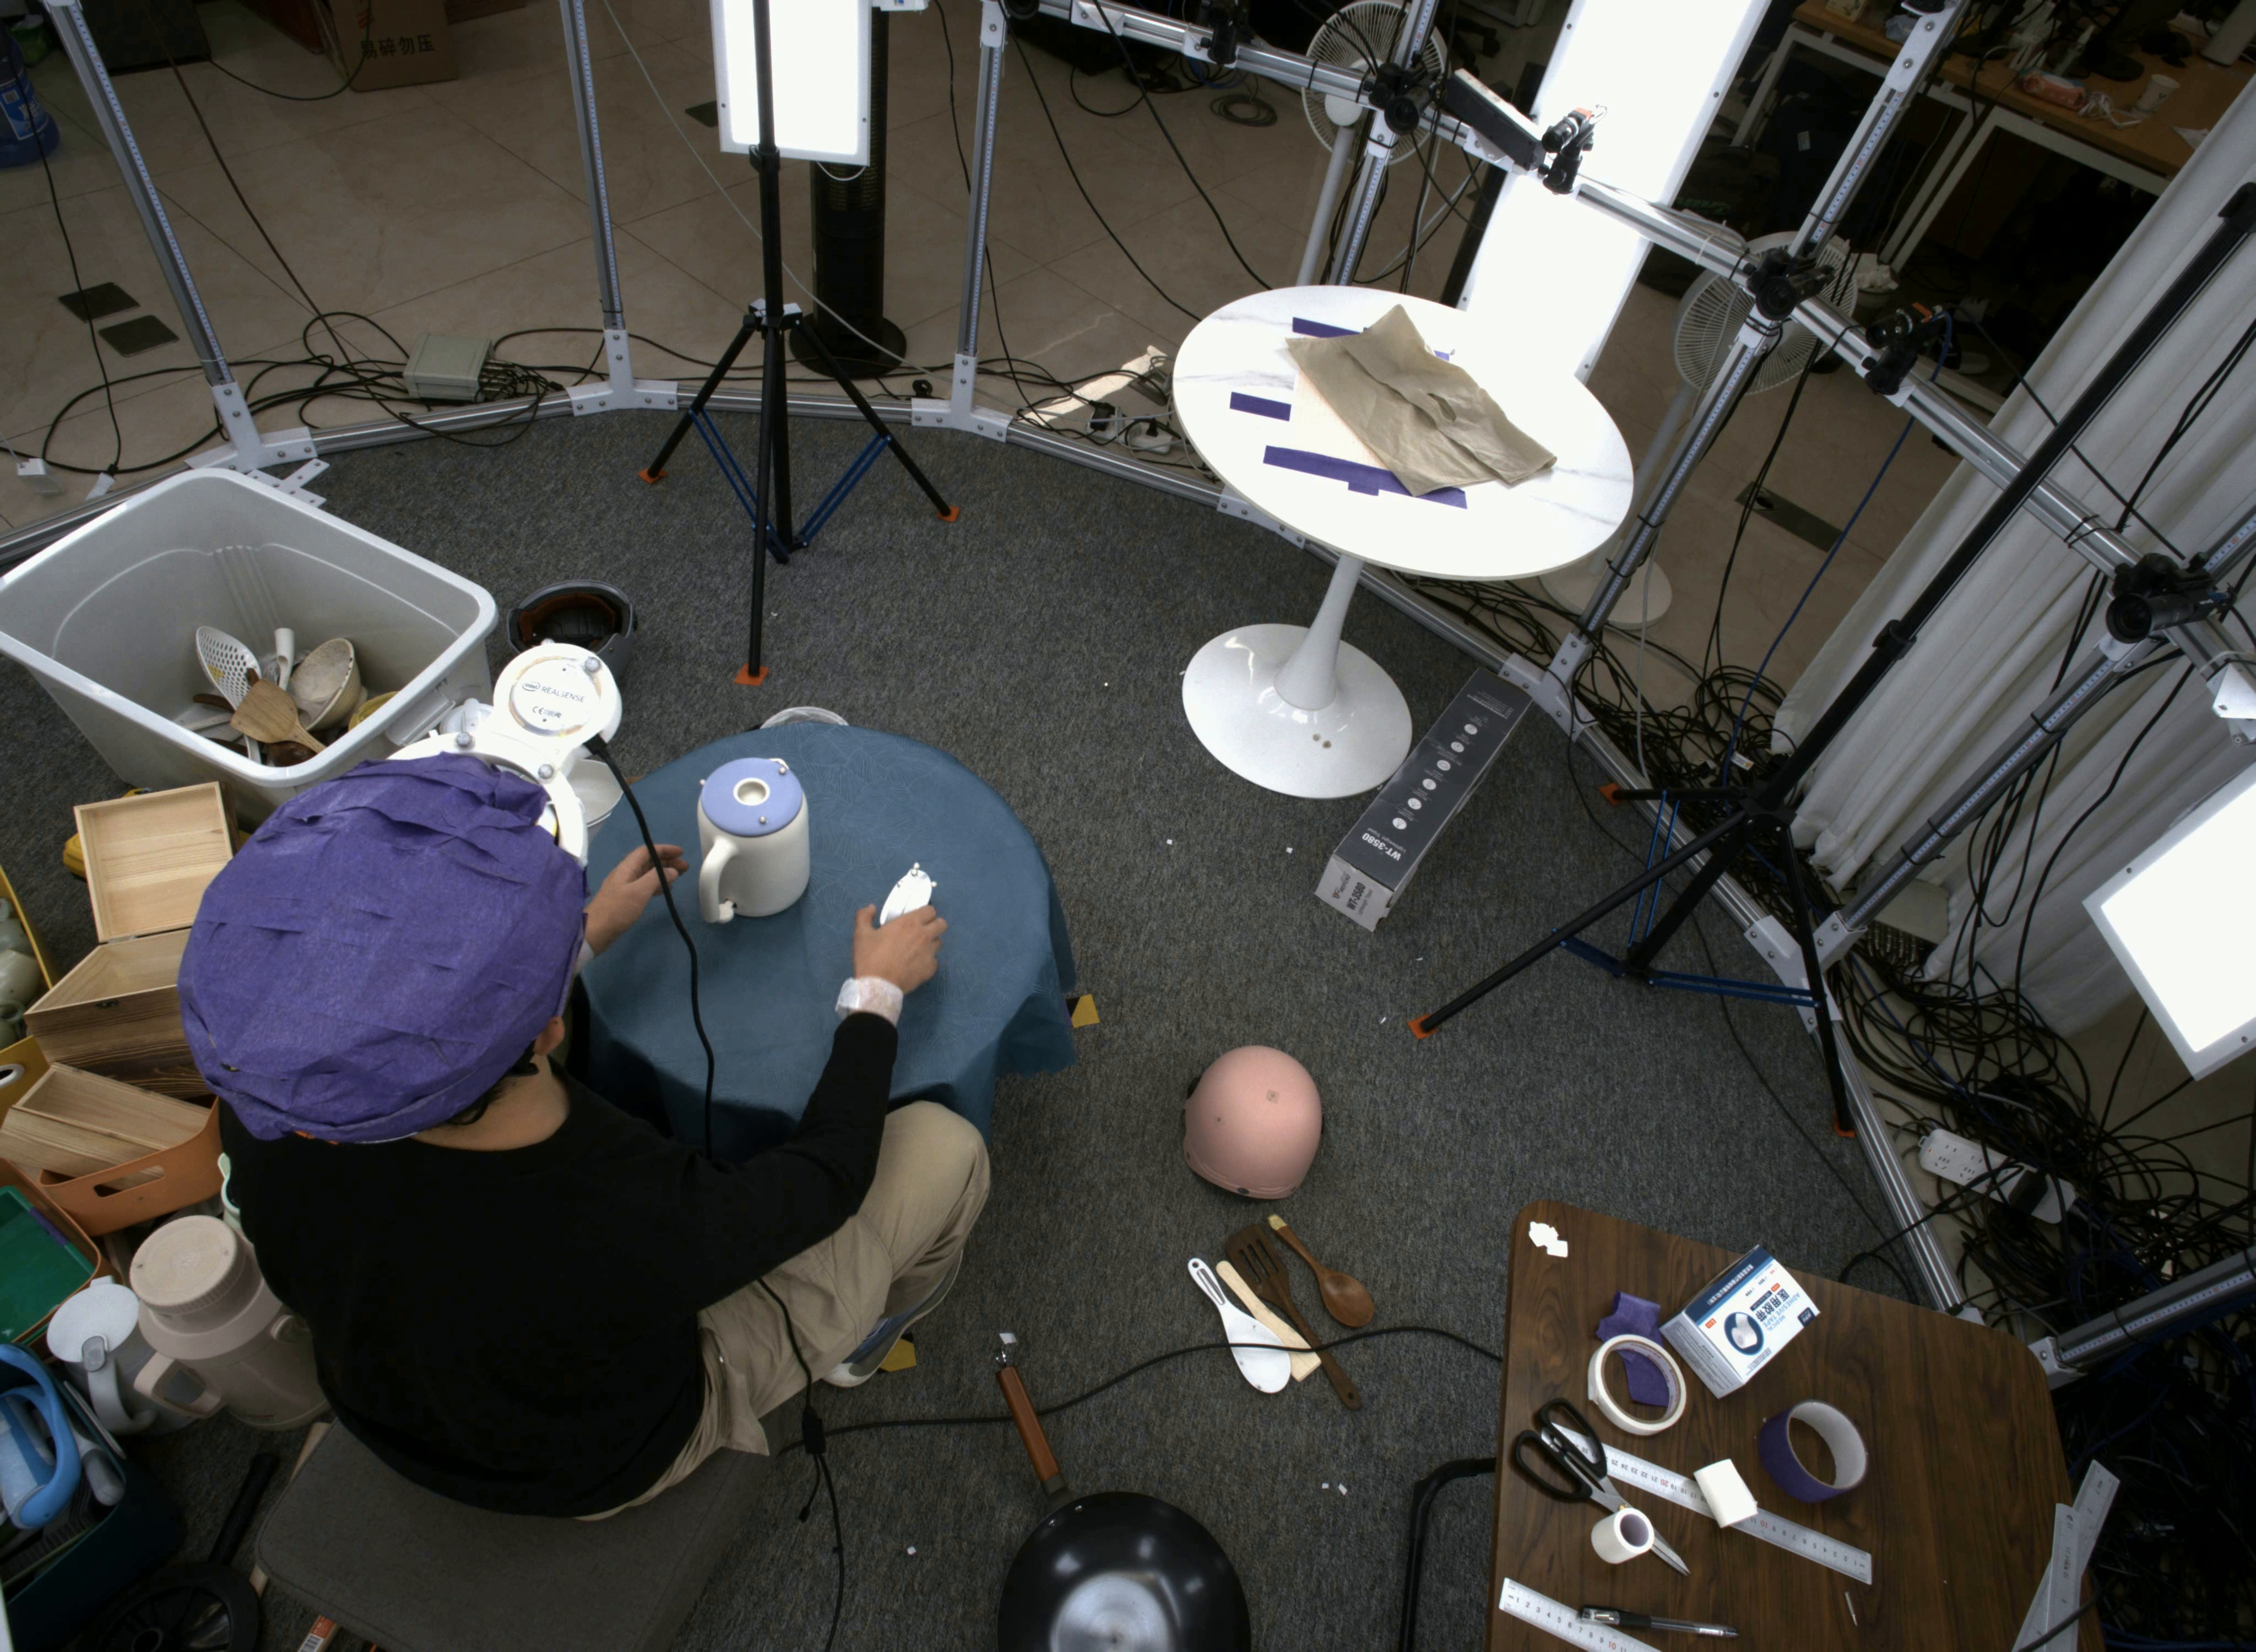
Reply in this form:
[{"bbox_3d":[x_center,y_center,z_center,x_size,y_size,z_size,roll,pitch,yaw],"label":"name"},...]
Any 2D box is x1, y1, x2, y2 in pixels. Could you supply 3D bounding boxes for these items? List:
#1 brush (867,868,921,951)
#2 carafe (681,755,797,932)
[{"bbox_3d":[-0.293,0.097,1.634,0.050,0.074,0.098,20,51,4],"label":"brush"},{"bbox_3d":[-0.482,0.032,1.568,0.131,0.186,0.189,19,52,3],"label":"carafe"}]
